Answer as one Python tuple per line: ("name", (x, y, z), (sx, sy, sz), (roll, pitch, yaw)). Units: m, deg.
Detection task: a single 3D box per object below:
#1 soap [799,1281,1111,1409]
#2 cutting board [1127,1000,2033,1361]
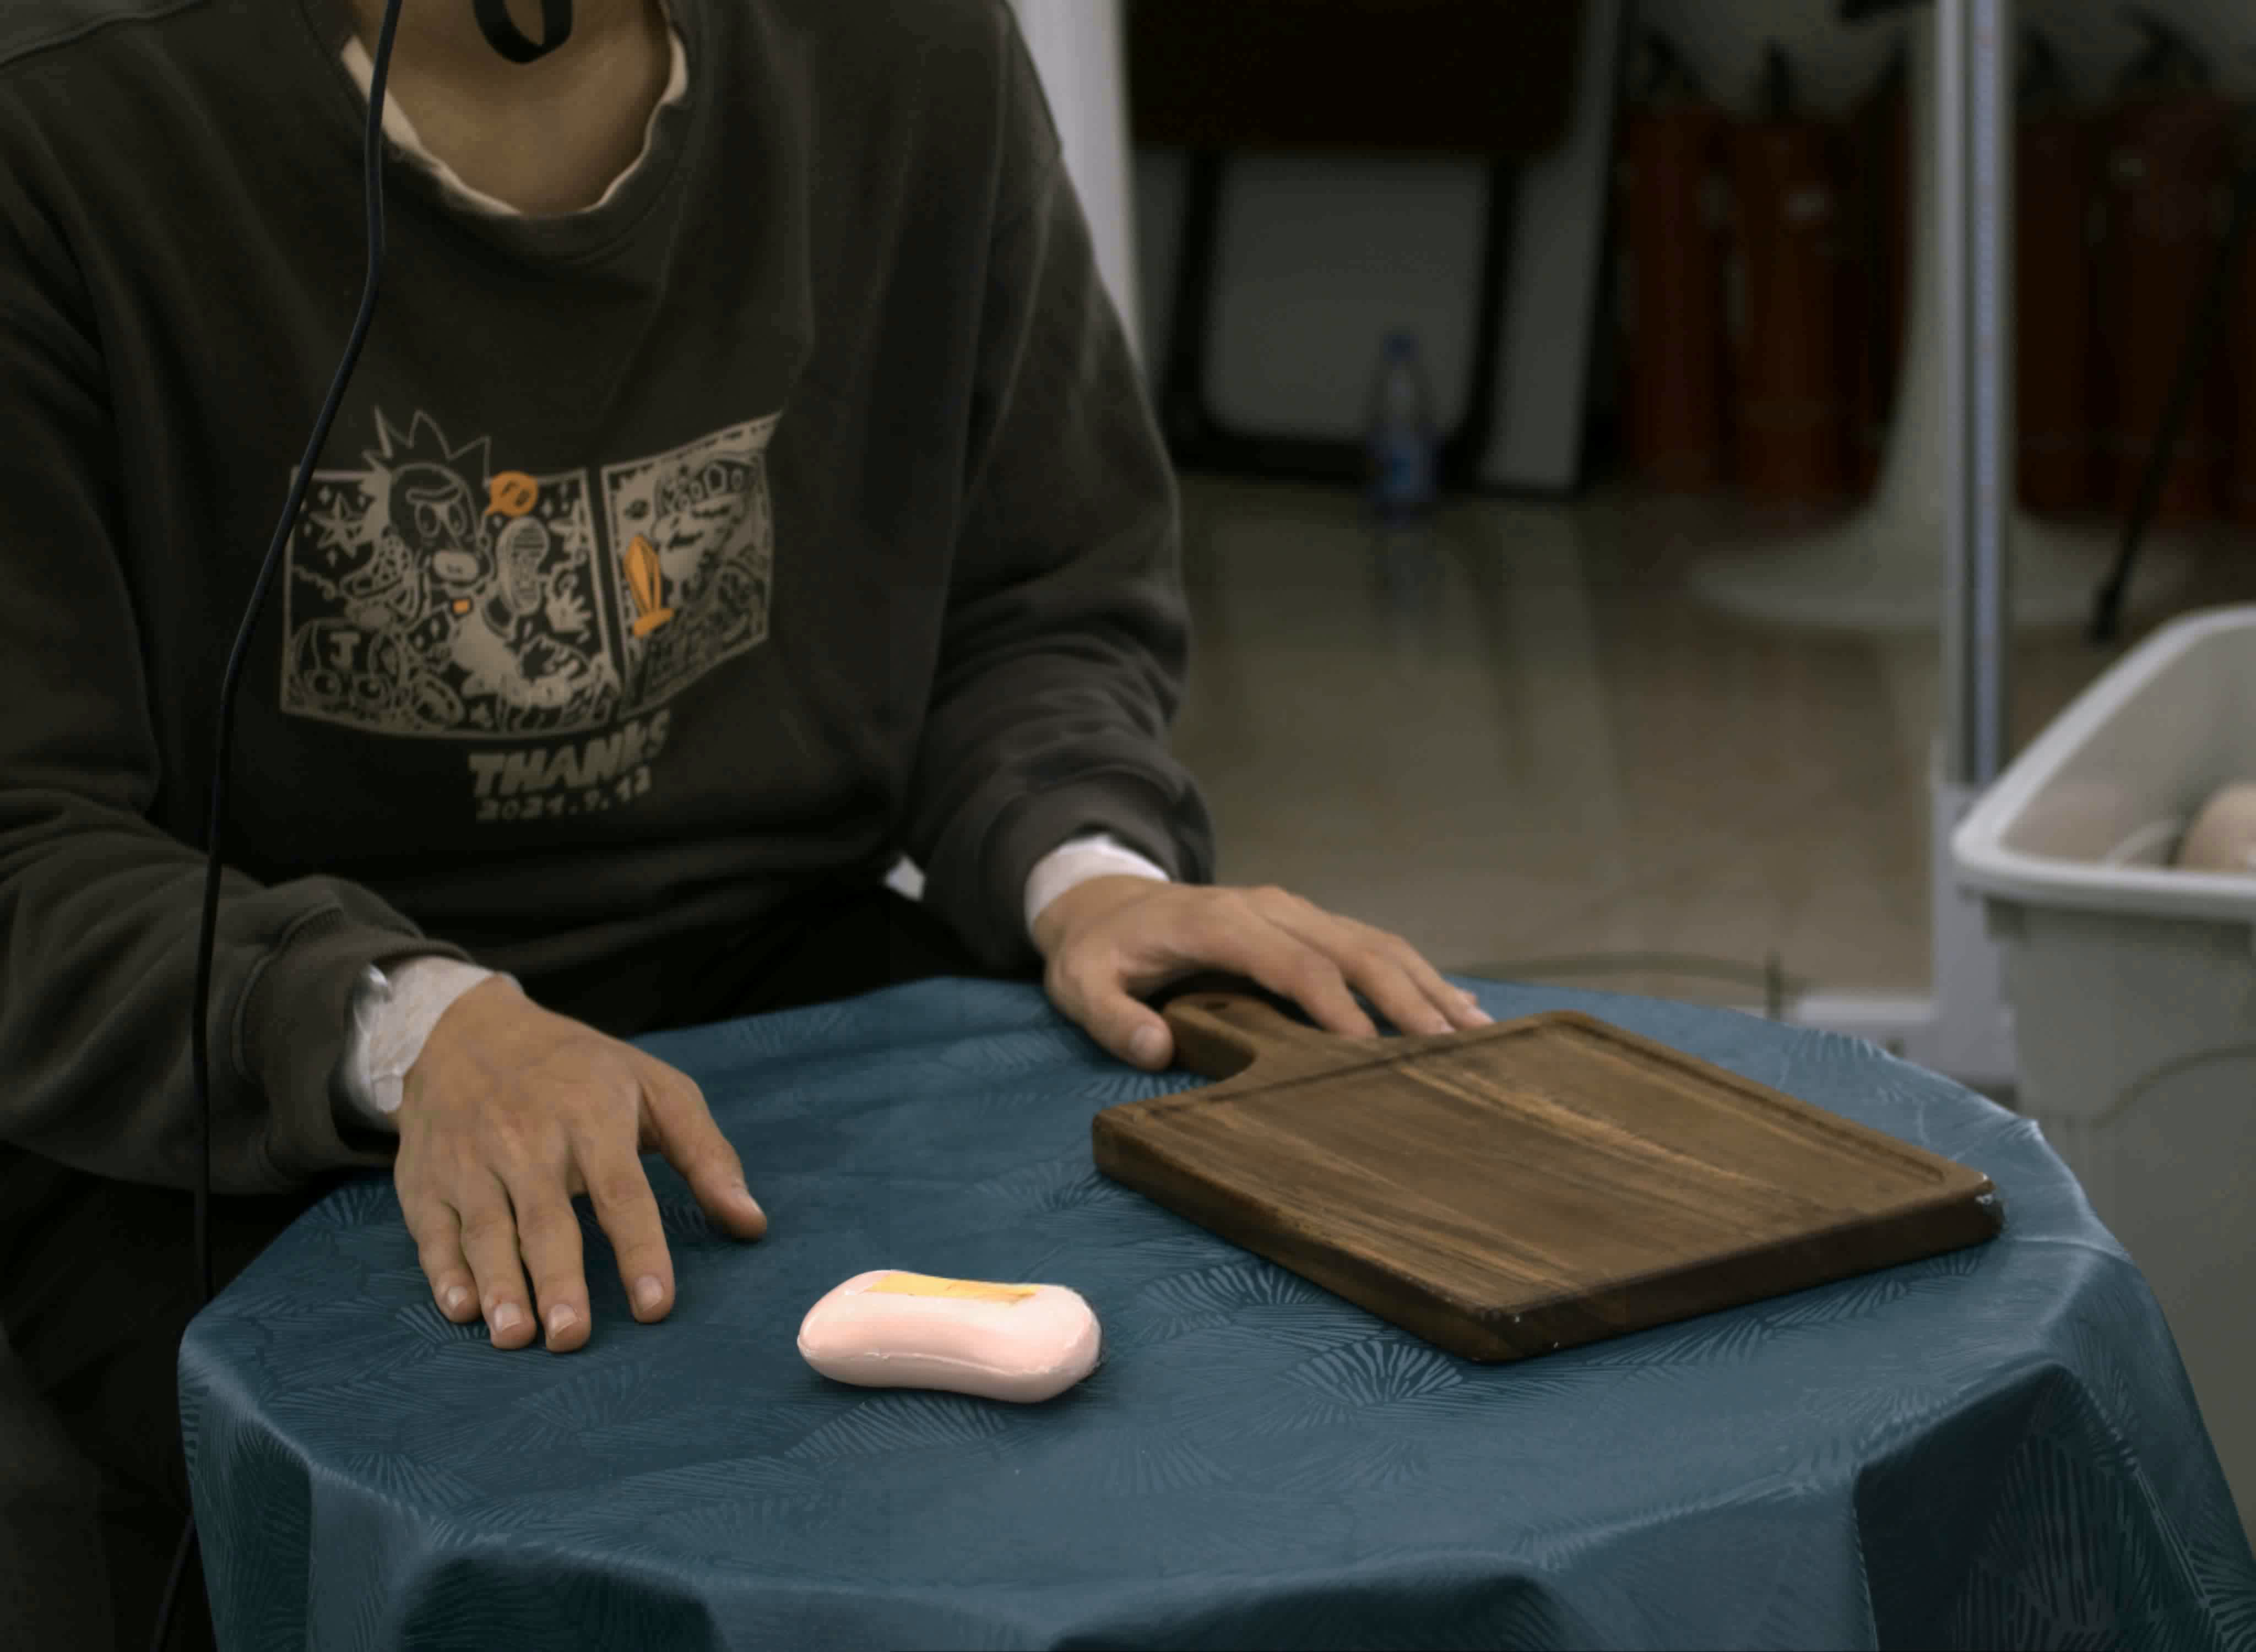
("soap", (-0.051, 0.153, 1.600), (0.094, 0.031, 0.050), (1, 13, 27))
("cutting board", (0.118, 0.103, 1.774), (0.197, 0.023, 0.356), (-11, 15, -25))
